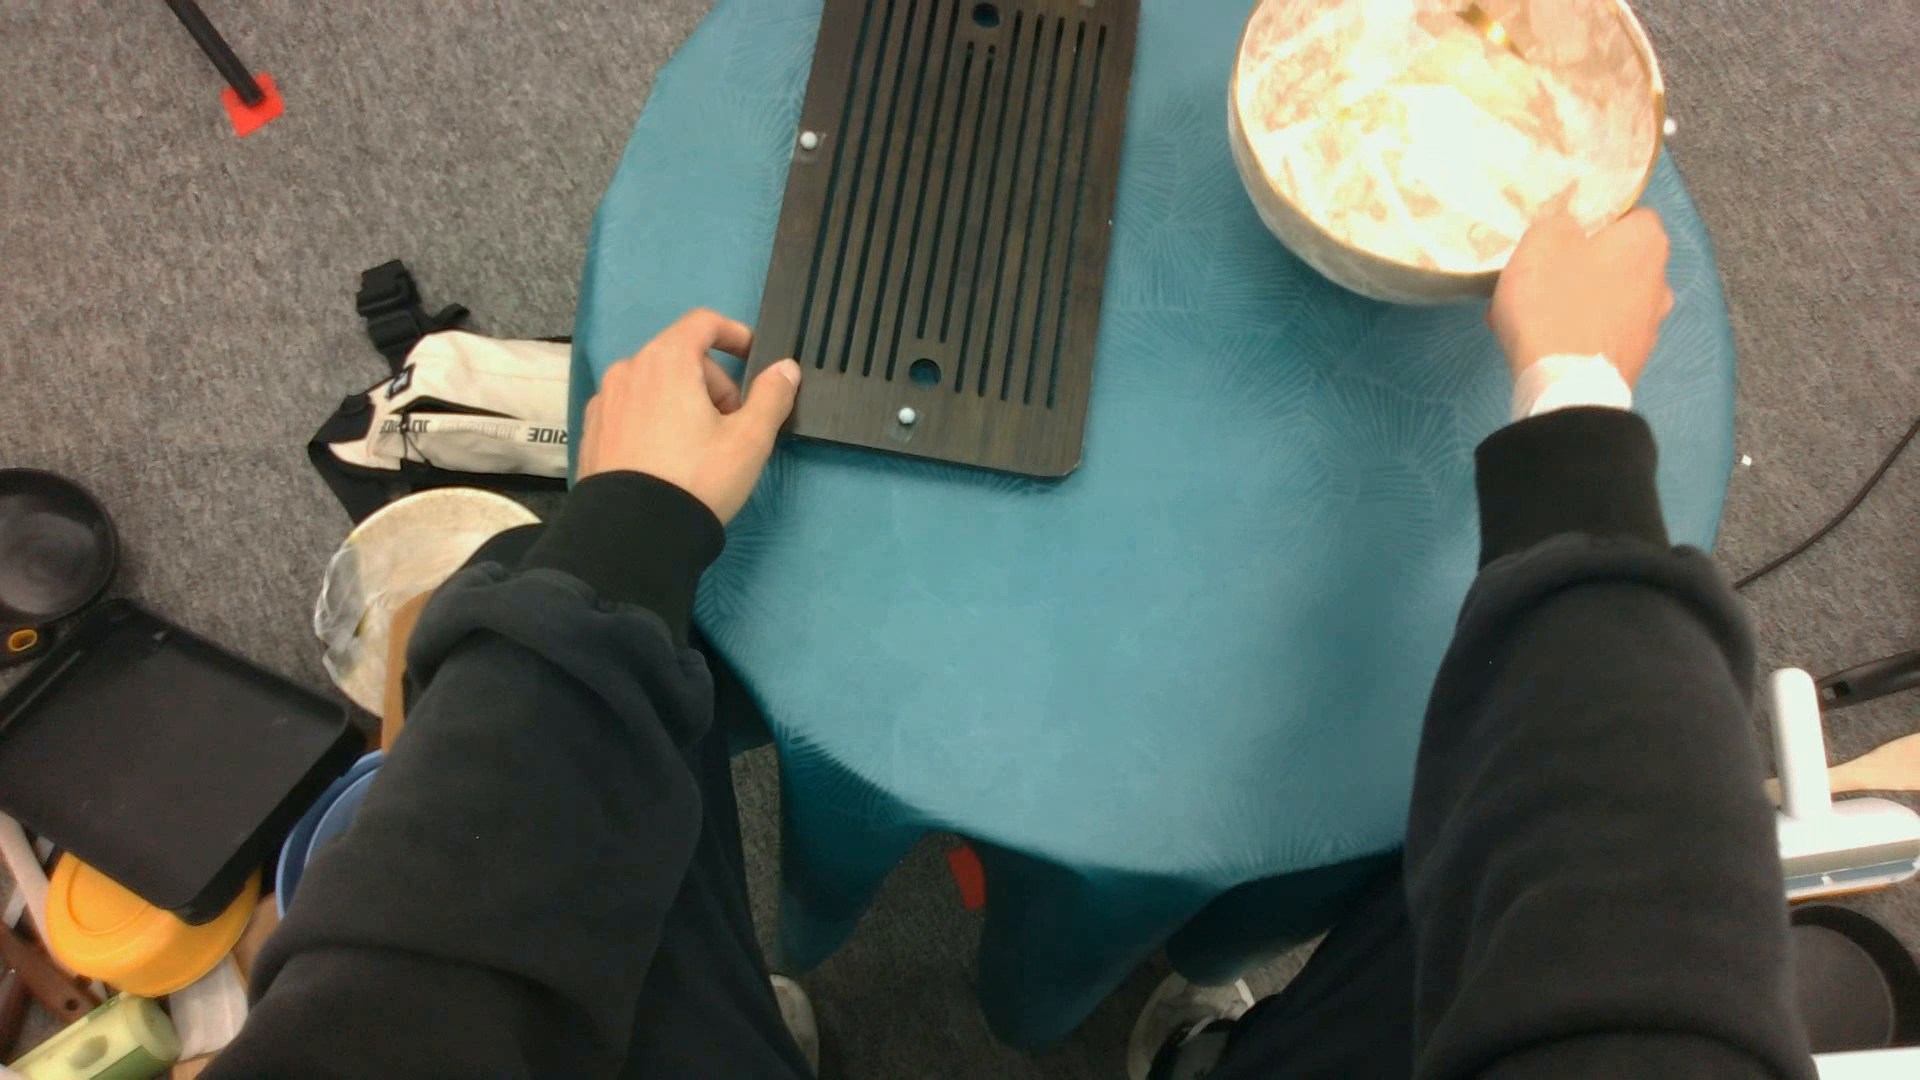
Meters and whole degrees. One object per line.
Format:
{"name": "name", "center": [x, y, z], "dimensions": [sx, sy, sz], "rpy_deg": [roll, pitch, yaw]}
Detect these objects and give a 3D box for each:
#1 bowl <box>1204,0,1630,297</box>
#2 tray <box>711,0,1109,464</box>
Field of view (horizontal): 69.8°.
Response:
{"name": "bowl", "center": [0.214, -0.202, 0.694], "dimensions": [0.215, 0.094, 0.215], "rpy_deg": [1, 72, -2]}
{"name": "tray", "center": [-0.019, -0.190, 0.721], "dimensions": [0.170, 0.018, 0.307], "rpy_deg": [9, 71, -3]}
